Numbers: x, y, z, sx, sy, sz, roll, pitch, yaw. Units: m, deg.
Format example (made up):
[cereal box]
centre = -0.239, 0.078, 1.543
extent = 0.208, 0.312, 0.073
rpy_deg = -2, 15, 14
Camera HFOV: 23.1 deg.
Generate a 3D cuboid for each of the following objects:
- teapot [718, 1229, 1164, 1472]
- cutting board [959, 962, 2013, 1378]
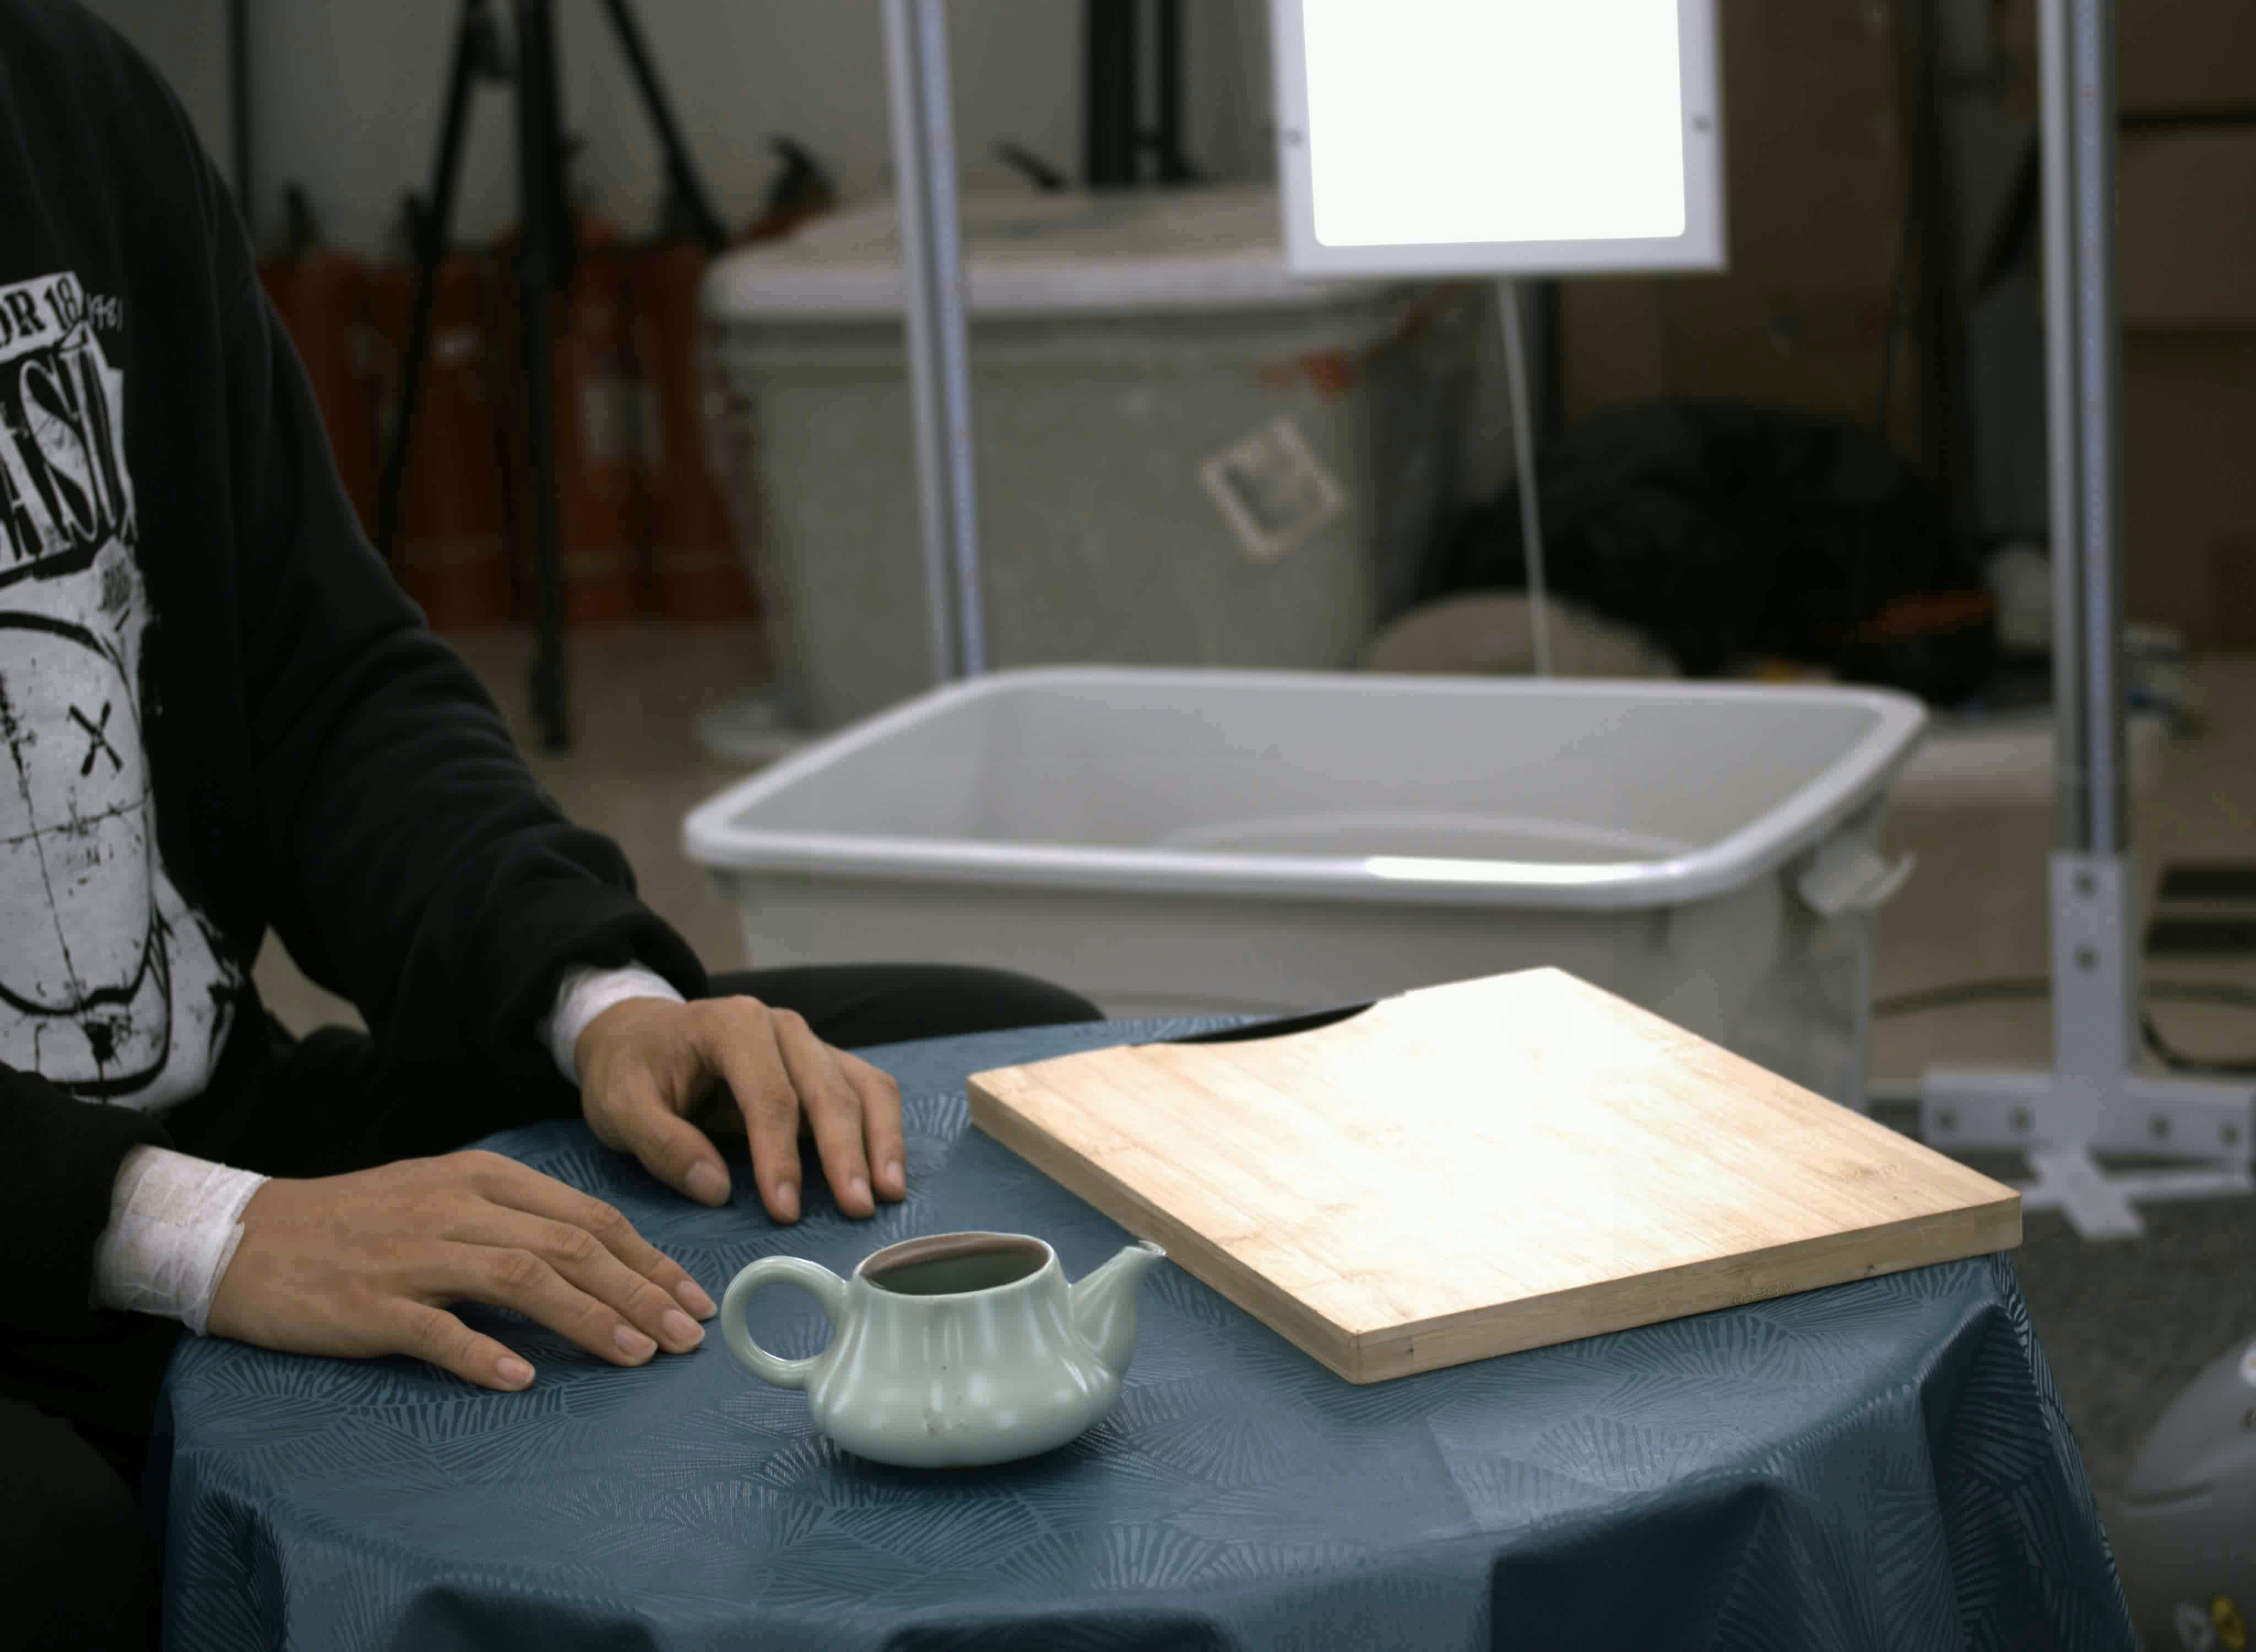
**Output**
[teapot]
centre = -0.055, 0.158, 1.666
extent = 0.137, 0.061, 0.096
rpy_deg = -4, 15, 4
[cutting board]
centre = 0.113, 0.112, 1.882
extent = 0.246, 0.023, 0.353
rpy_deg = -10, 15, -21
